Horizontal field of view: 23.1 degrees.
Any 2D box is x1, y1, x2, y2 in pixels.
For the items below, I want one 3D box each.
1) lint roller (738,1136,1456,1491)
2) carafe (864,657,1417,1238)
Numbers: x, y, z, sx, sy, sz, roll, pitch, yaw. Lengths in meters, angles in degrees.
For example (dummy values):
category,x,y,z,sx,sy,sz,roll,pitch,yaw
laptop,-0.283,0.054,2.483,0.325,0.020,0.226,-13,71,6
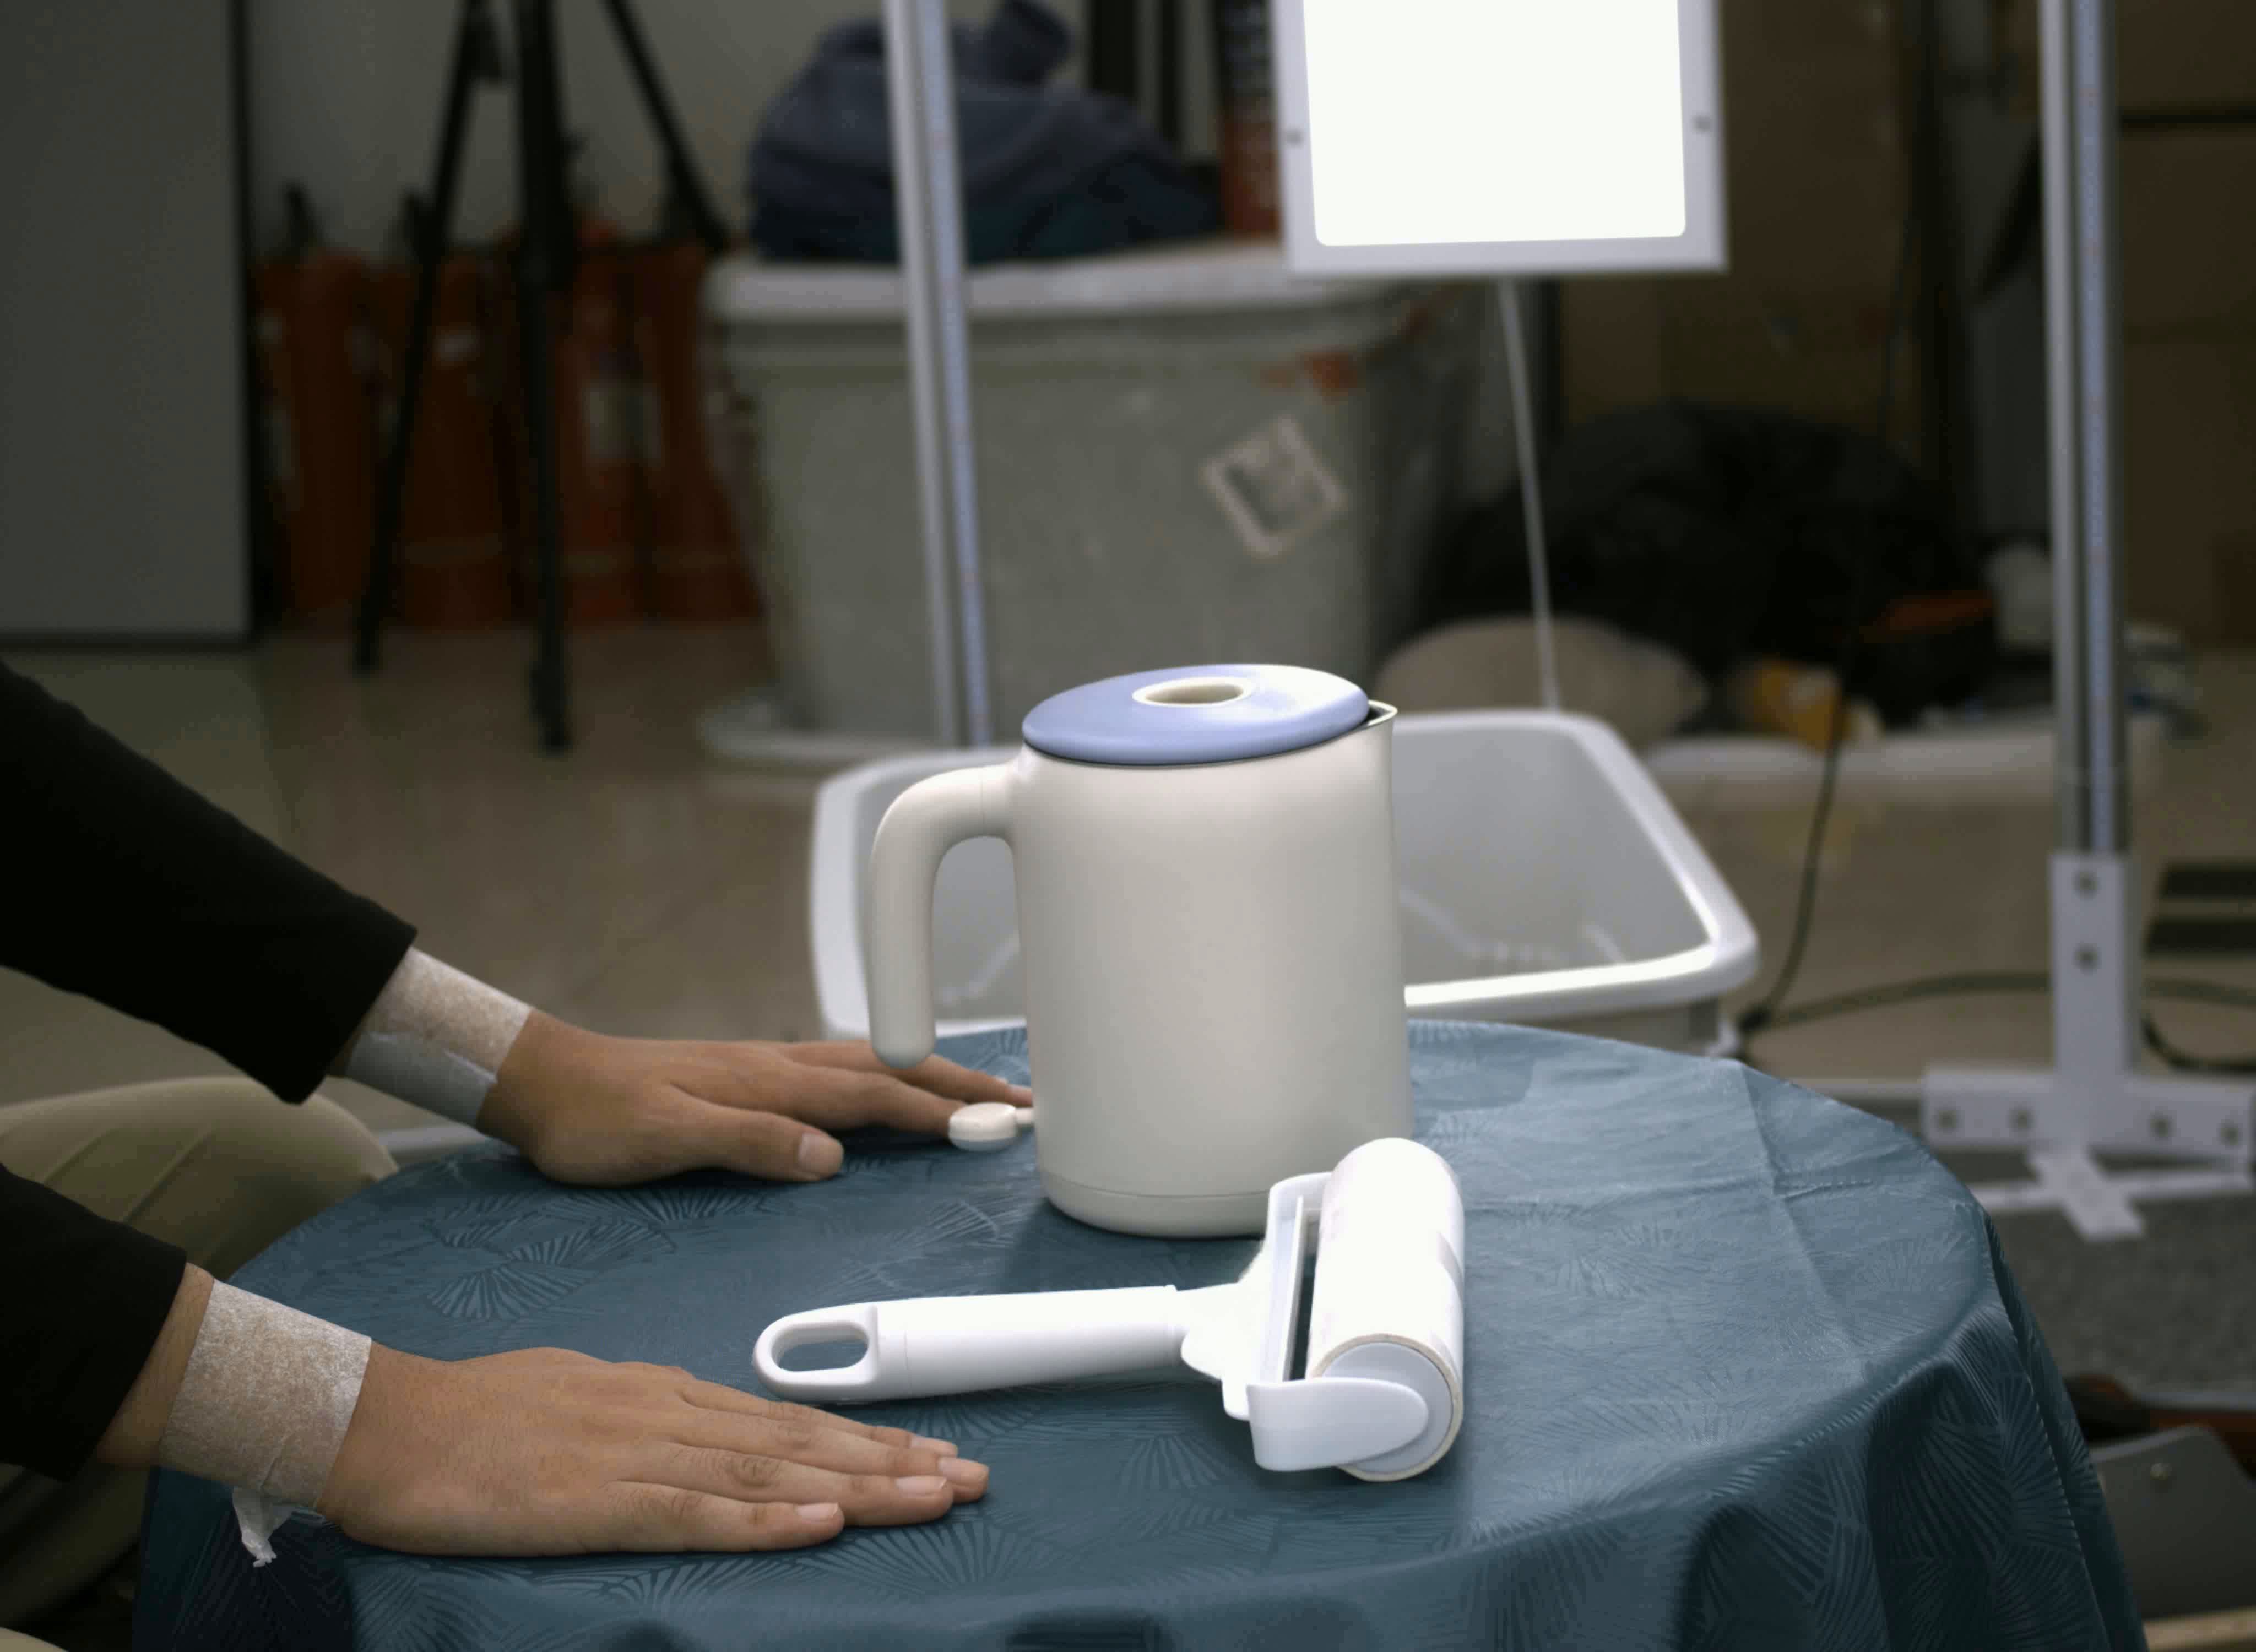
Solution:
category,x,y,z,sx,sy,sz,roll,pitch,yaw
lint roller,-0.010,0.154,1.700,0.226,0.048,0.201,-5,15,6
carafe,0.004,0.043,1.876,0.191,0.183,0.131,-6,13,4
